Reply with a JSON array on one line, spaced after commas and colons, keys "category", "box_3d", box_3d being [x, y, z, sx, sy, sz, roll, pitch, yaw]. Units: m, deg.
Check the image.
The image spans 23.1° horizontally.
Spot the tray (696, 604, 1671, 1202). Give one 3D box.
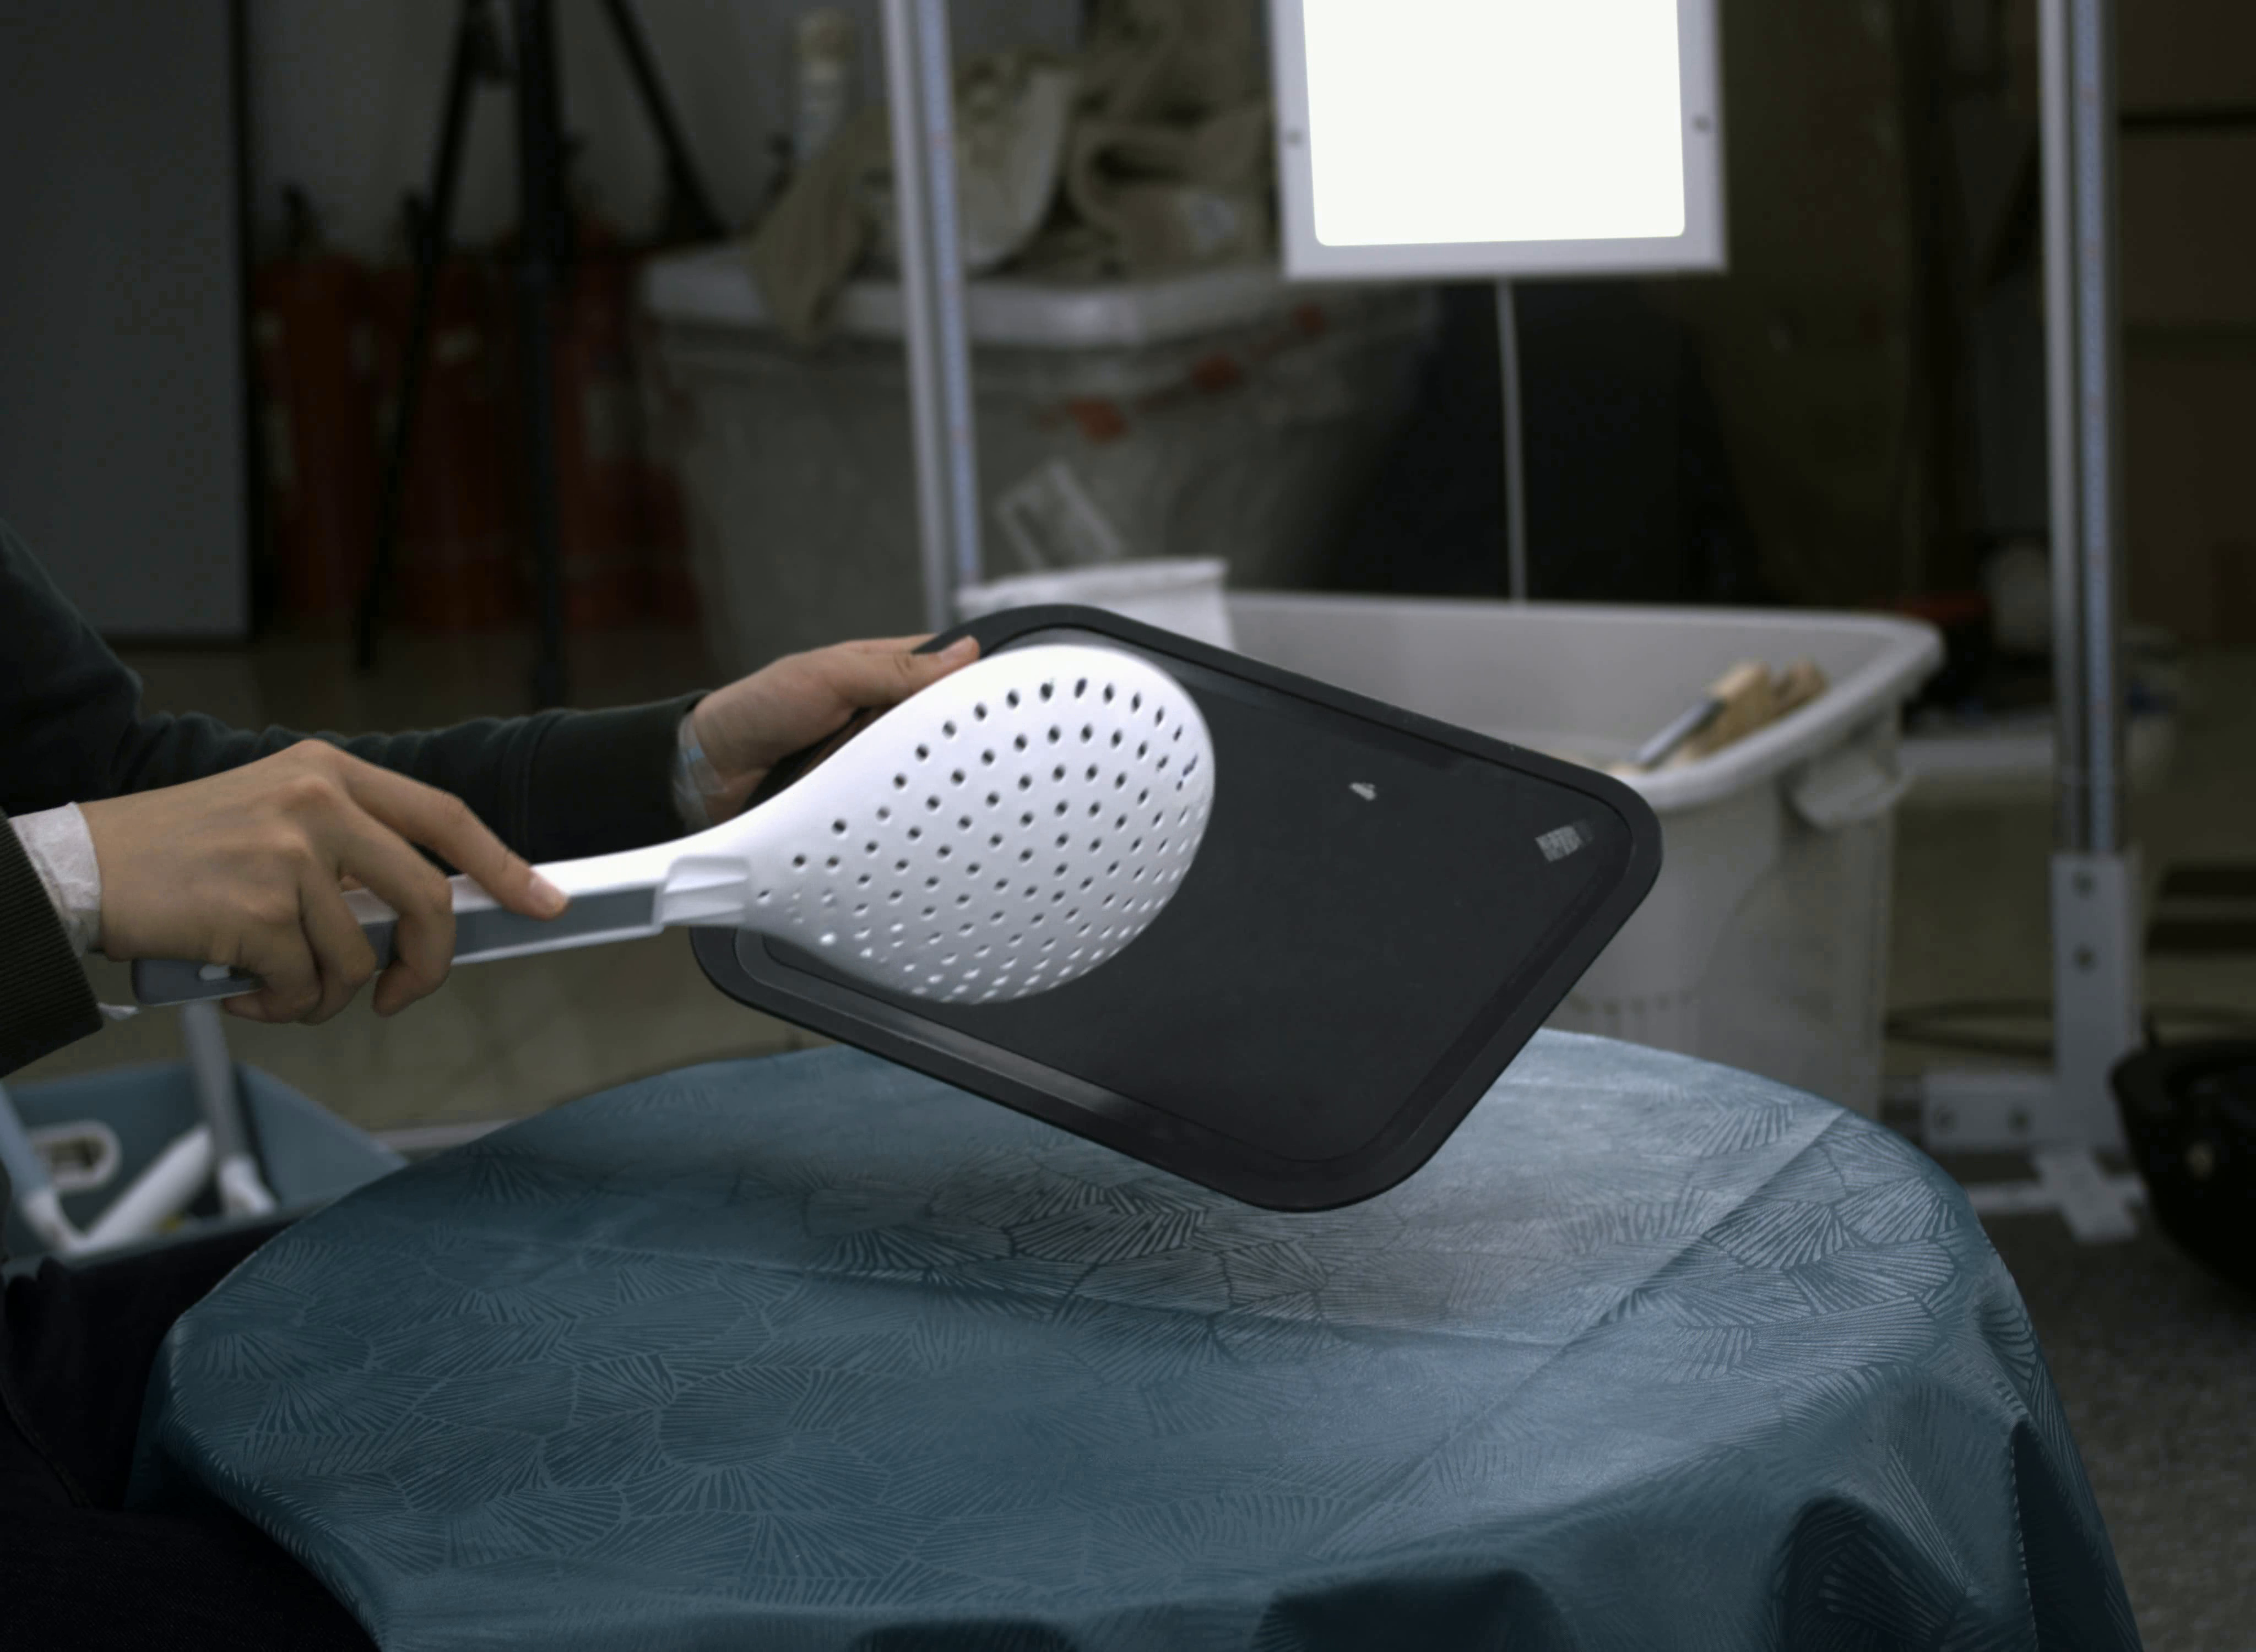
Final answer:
[{"category": "tray", "box_3d": [0.008, 0.017, 1.844, 0.331, 0.010, 0.207, 20, 54, 36]}]

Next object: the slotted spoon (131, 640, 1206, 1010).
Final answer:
[{"category": "slotted spoon", "box_3d": [-0.134, 0.017, 1.696, 0.344, 0.137, 0.046, -5, 36, -16]}]
